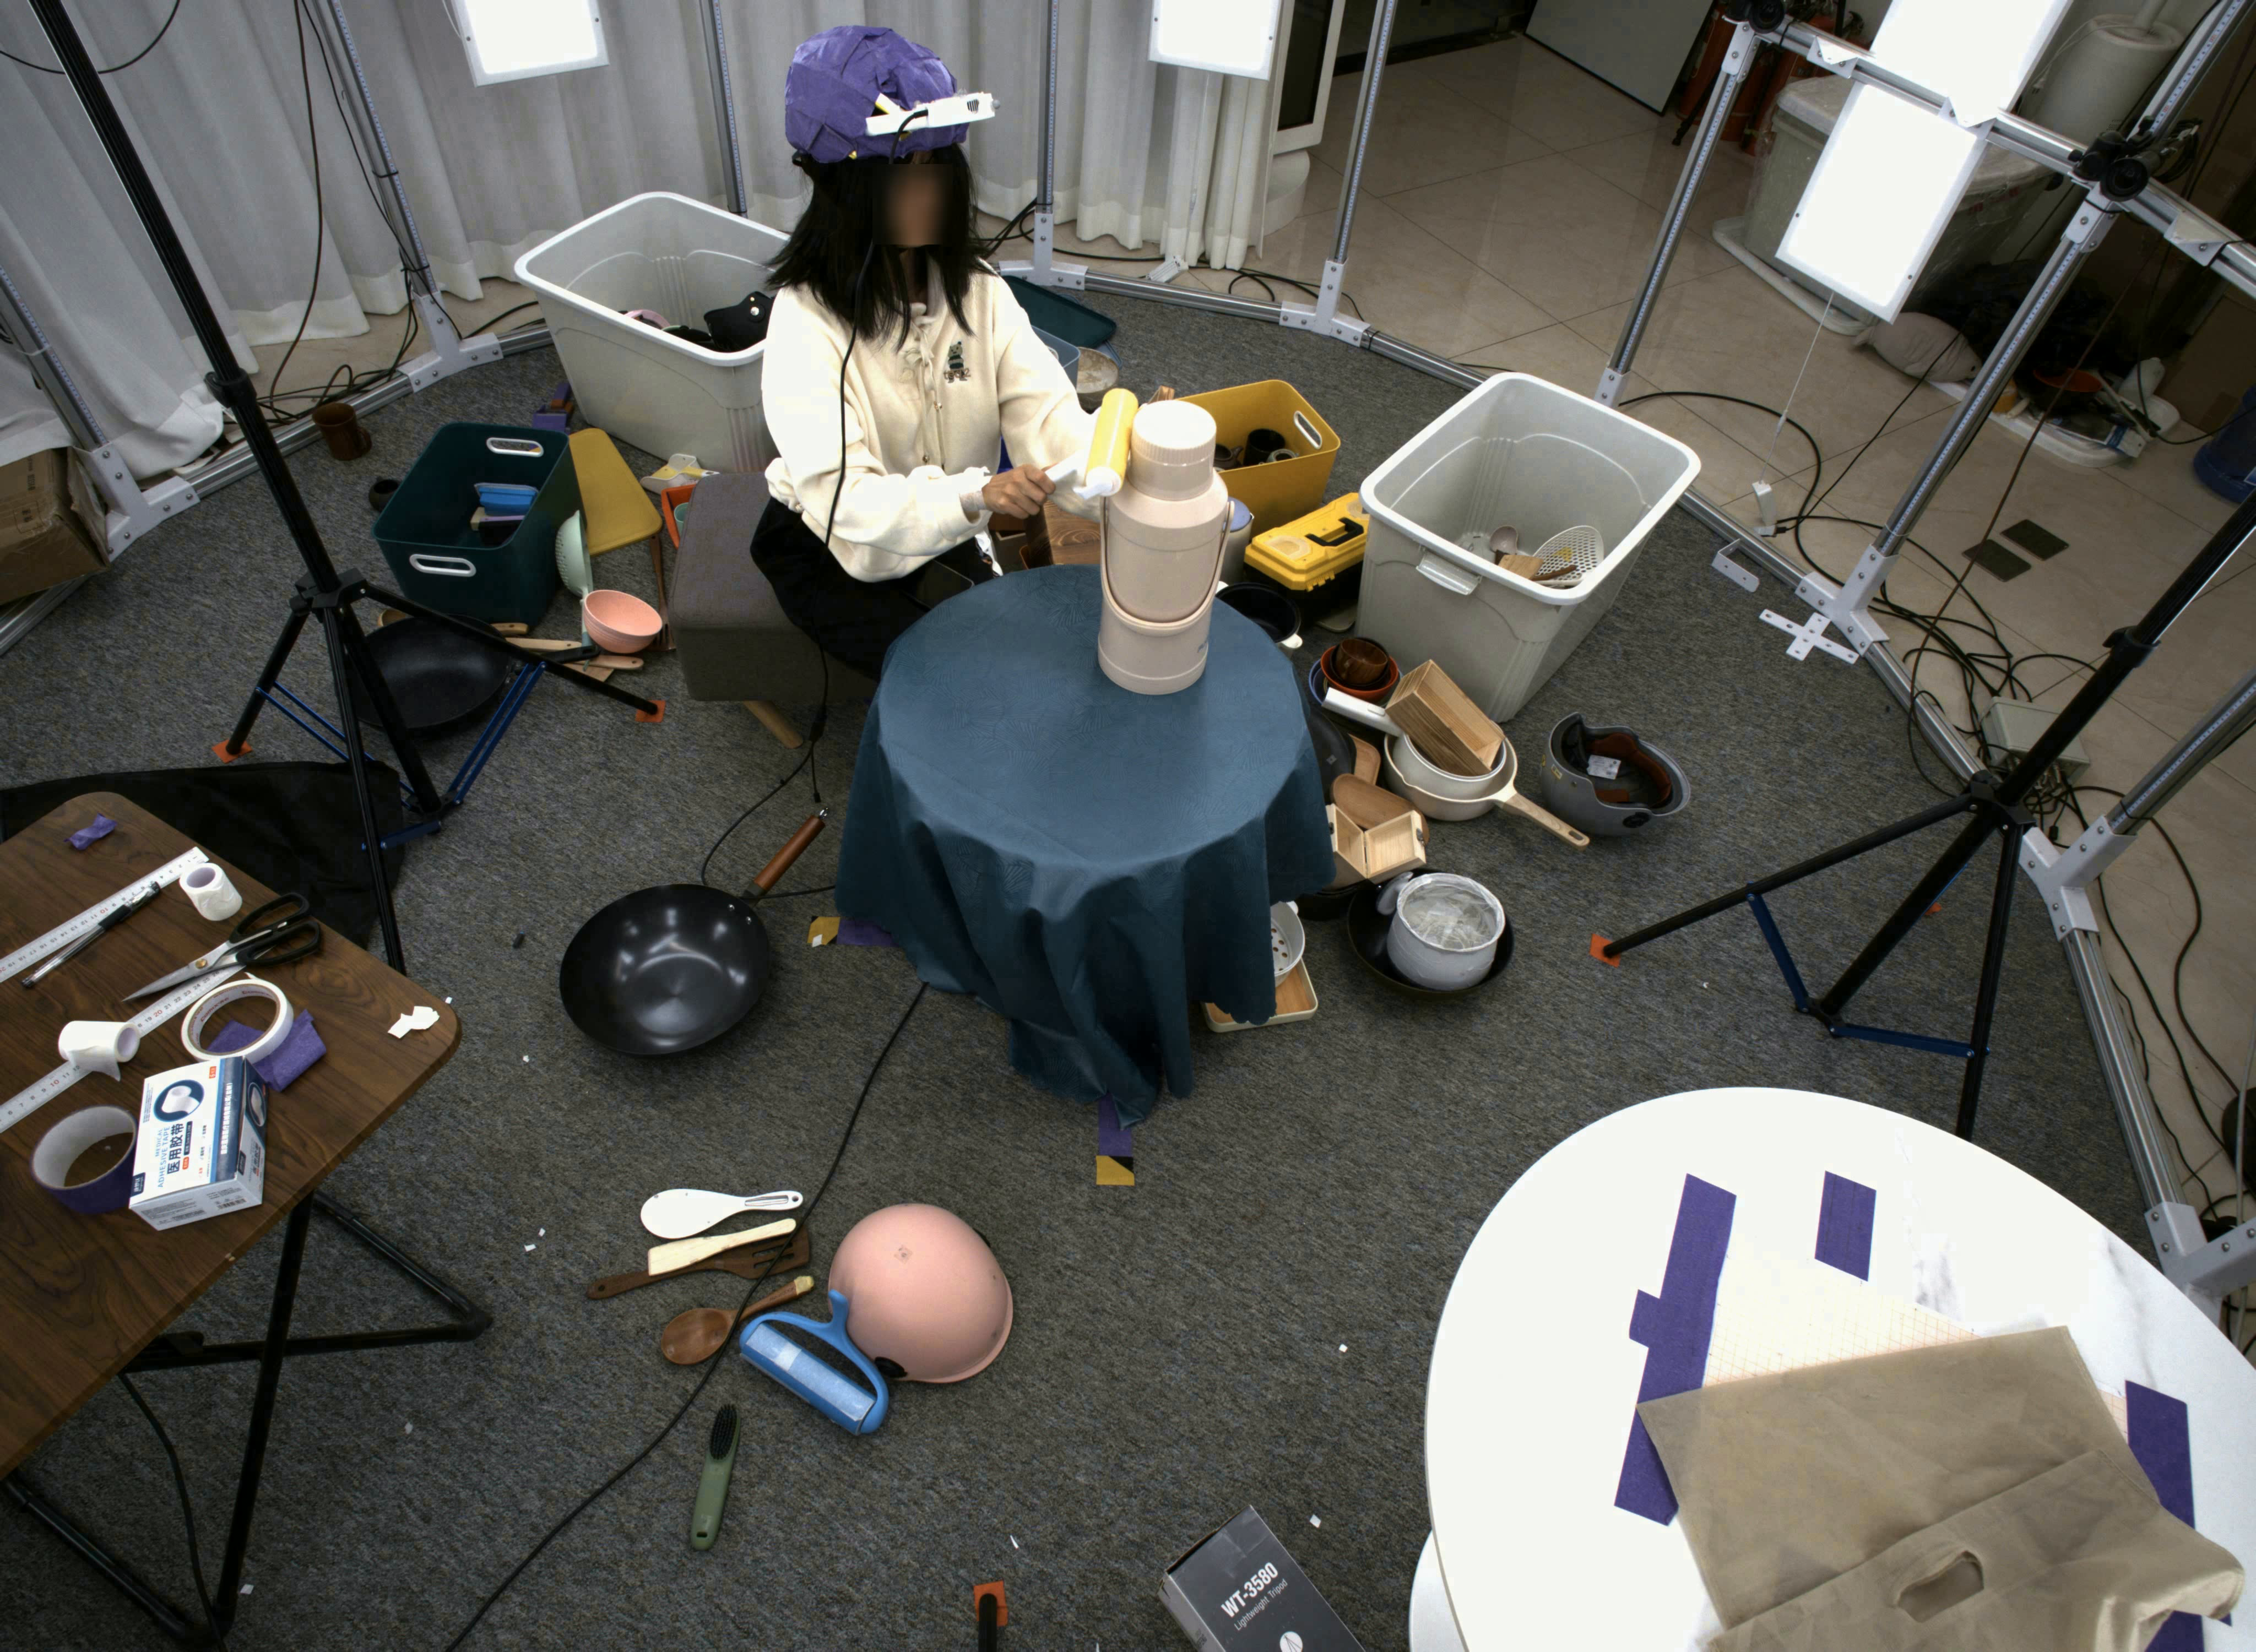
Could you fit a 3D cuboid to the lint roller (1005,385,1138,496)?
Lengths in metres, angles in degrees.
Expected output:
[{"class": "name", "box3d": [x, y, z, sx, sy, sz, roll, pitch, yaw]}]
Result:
[{"class": "lint roller", "box3d": [-0.082, -0.472, 1.656, 0.192, 0.050, 0.178, -11, 48, 23]}]

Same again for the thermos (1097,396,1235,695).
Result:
[{"class": "thermos", "box3d": [0.049, -0.383, 1.750, 0.175, 0.396, 0.212, 6, 49, 1]}]
